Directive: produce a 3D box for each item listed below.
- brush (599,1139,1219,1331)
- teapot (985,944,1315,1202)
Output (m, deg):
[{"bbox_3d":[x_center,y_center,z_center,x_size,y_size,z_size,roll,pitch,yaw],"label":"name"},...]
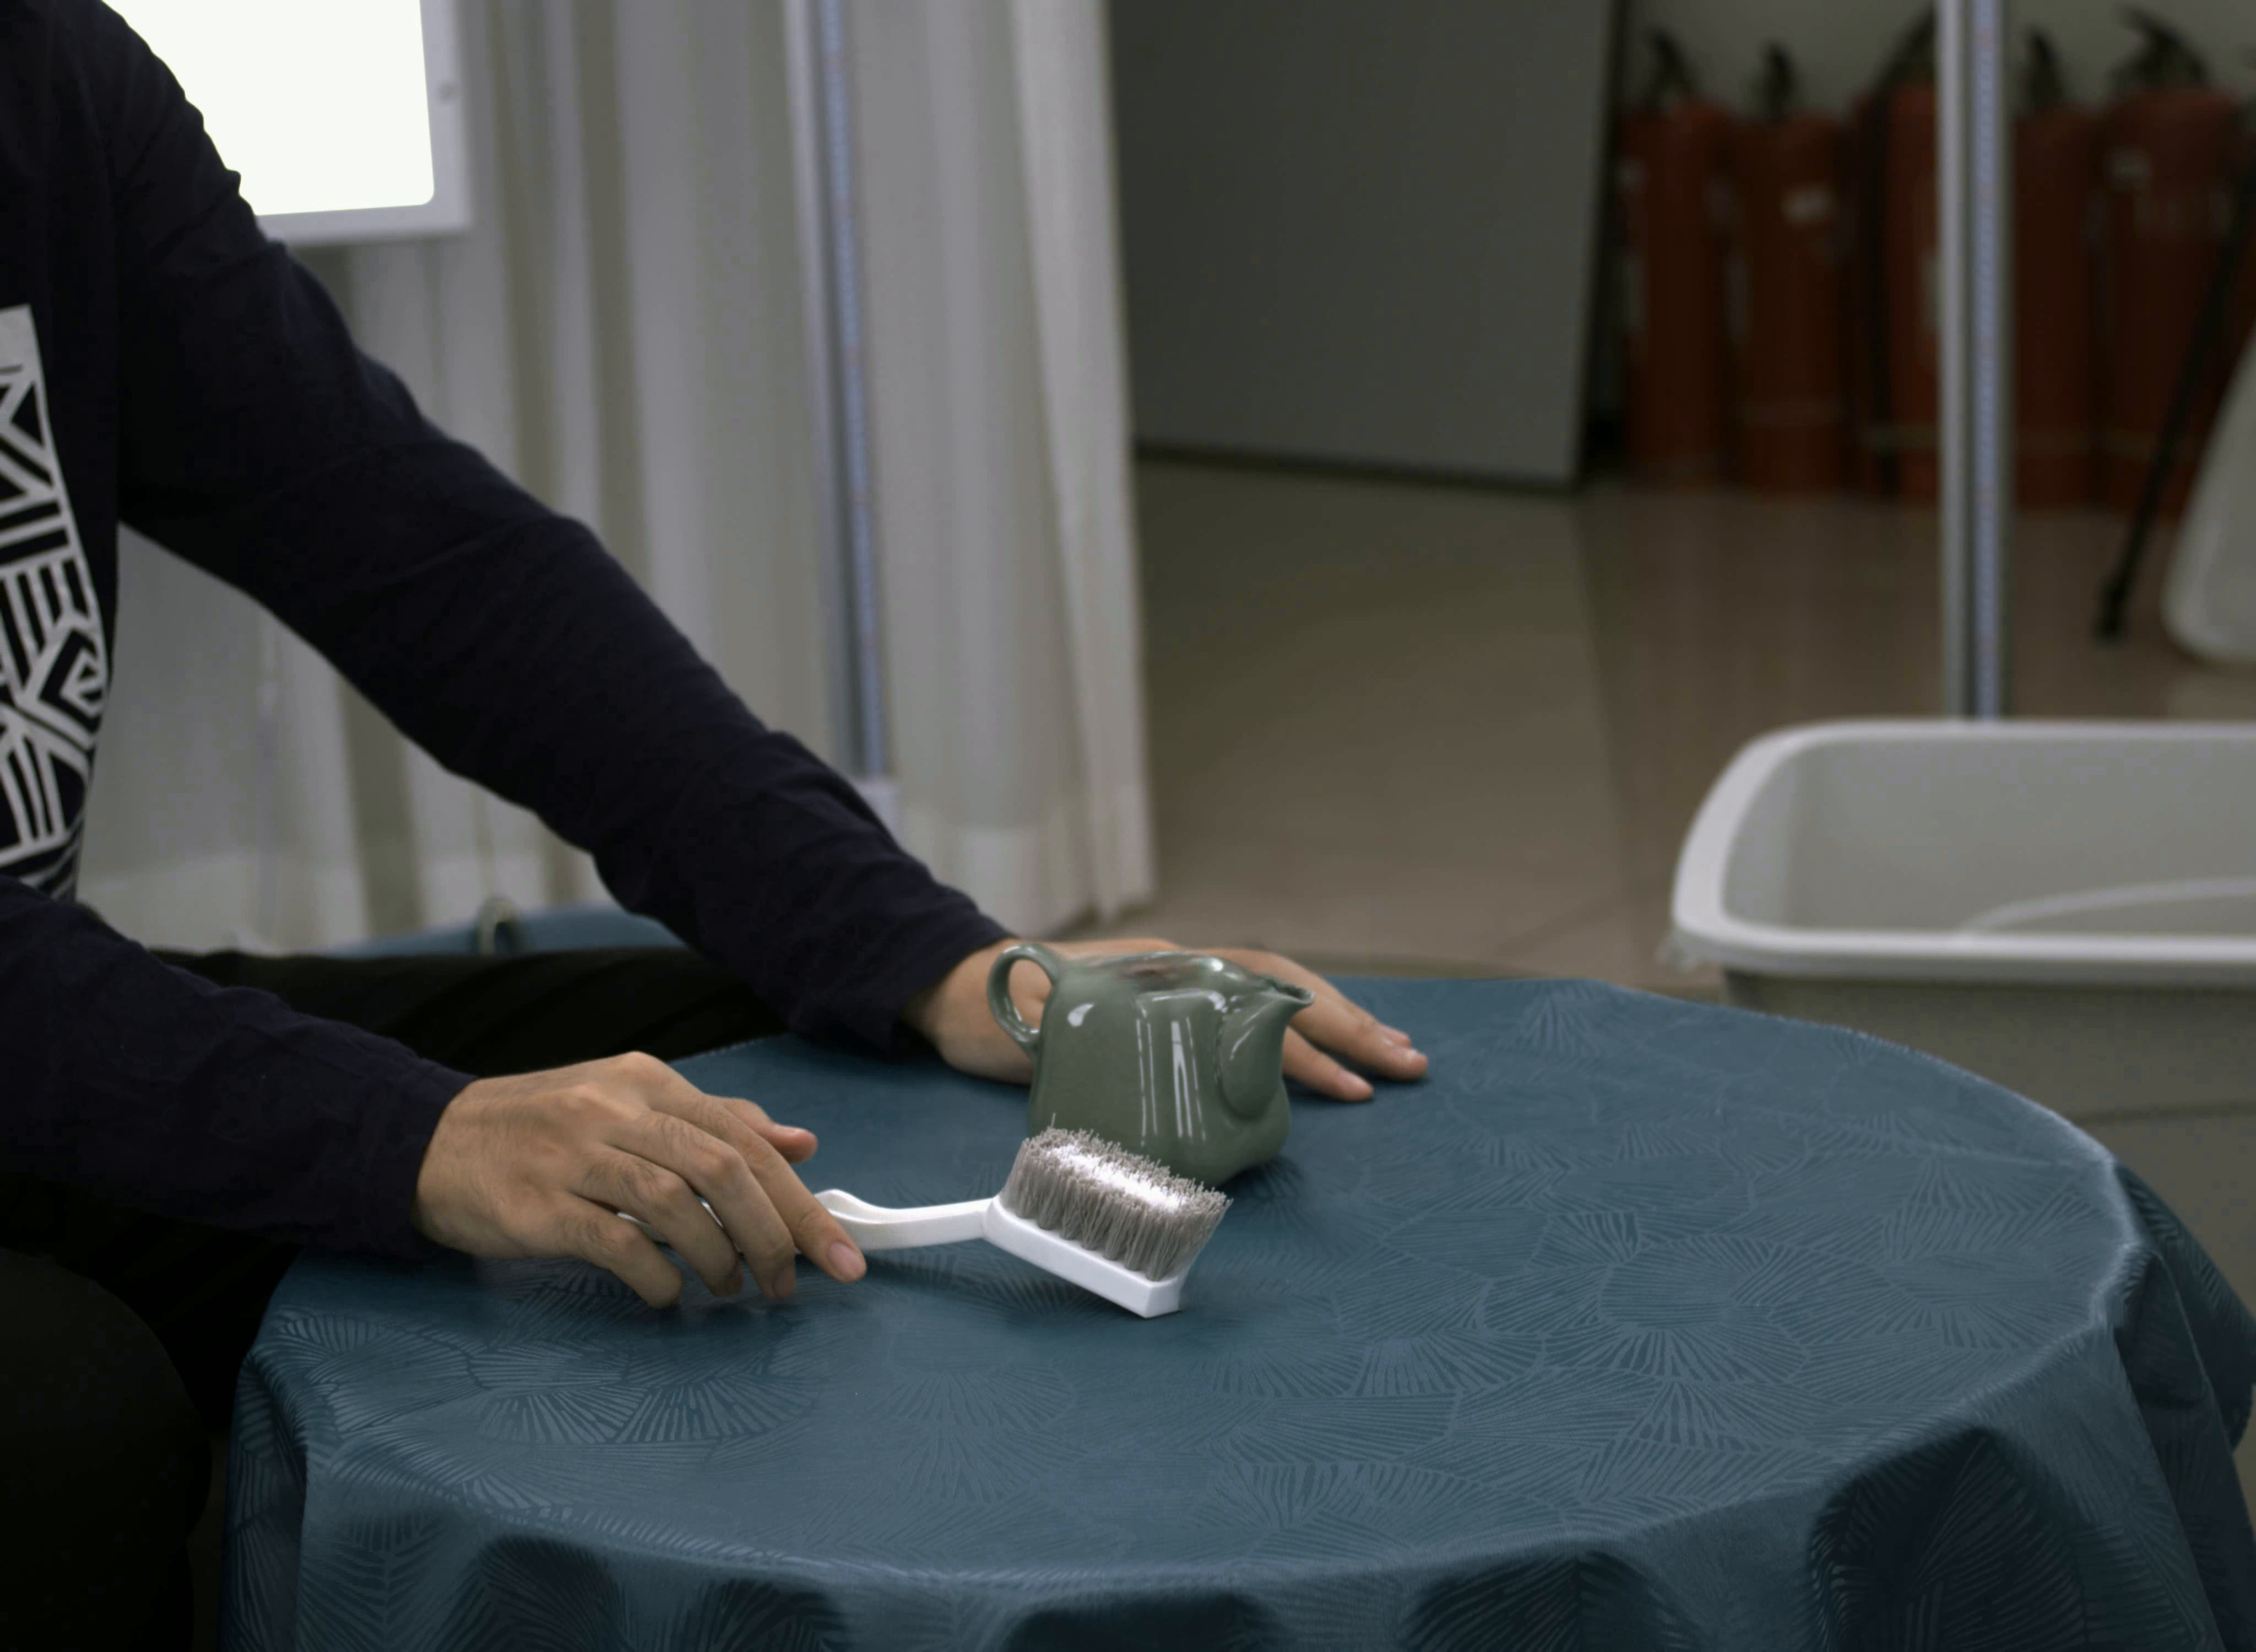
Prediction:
[{"bbox_3d":[-0.076,0.117,1.714,0.245,0.050,0.034,7,23,36],"label":"brush"},{"bbox_3d":[0.009,0.081,1.784,0.133,0.076,0.078,5,16,36],"label":"teapot"}]
